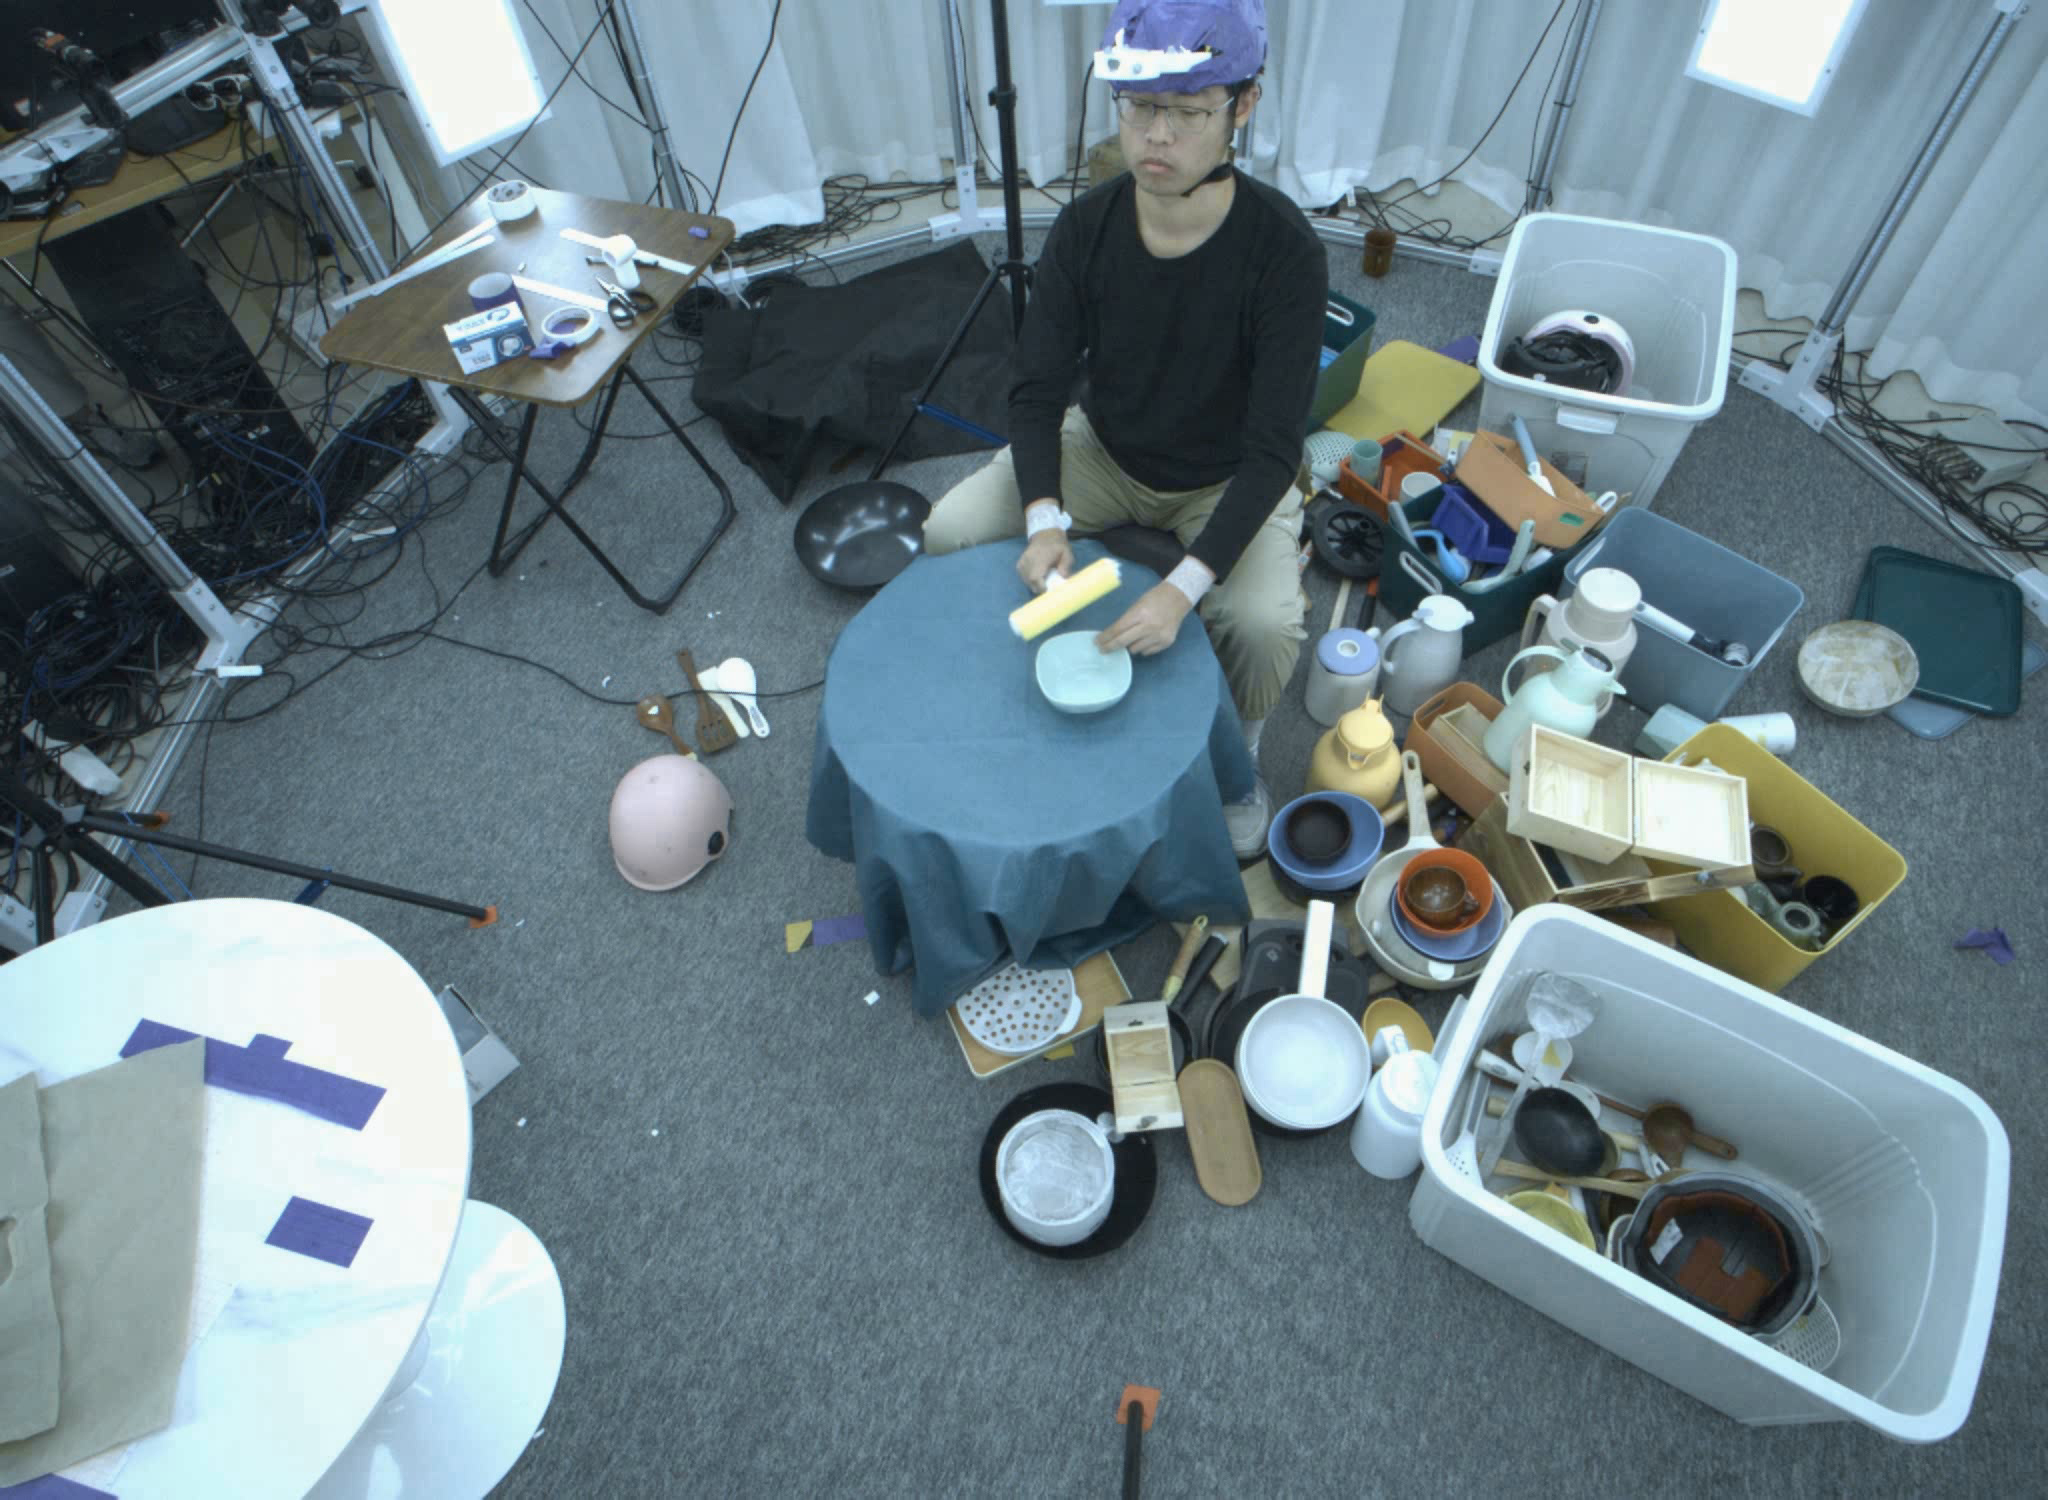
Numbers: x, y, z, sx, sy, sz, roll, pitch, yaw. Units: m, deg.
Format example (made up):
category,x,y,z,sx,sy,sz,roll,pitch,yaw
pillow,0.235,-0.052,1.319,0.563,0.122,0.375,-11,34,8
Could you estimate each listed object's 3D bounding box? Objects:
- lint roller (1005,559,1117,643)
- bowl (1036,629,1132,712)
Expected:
category,x,y,z,sx,sy,sz,roll,pitch,yaw
lint roller,0.035,-0.255,1.847,0.174,0.052,0.188,-31,39,4
bowl,0.089,-0.107,1.825,0.151,0.059,0.150,0,57,2
